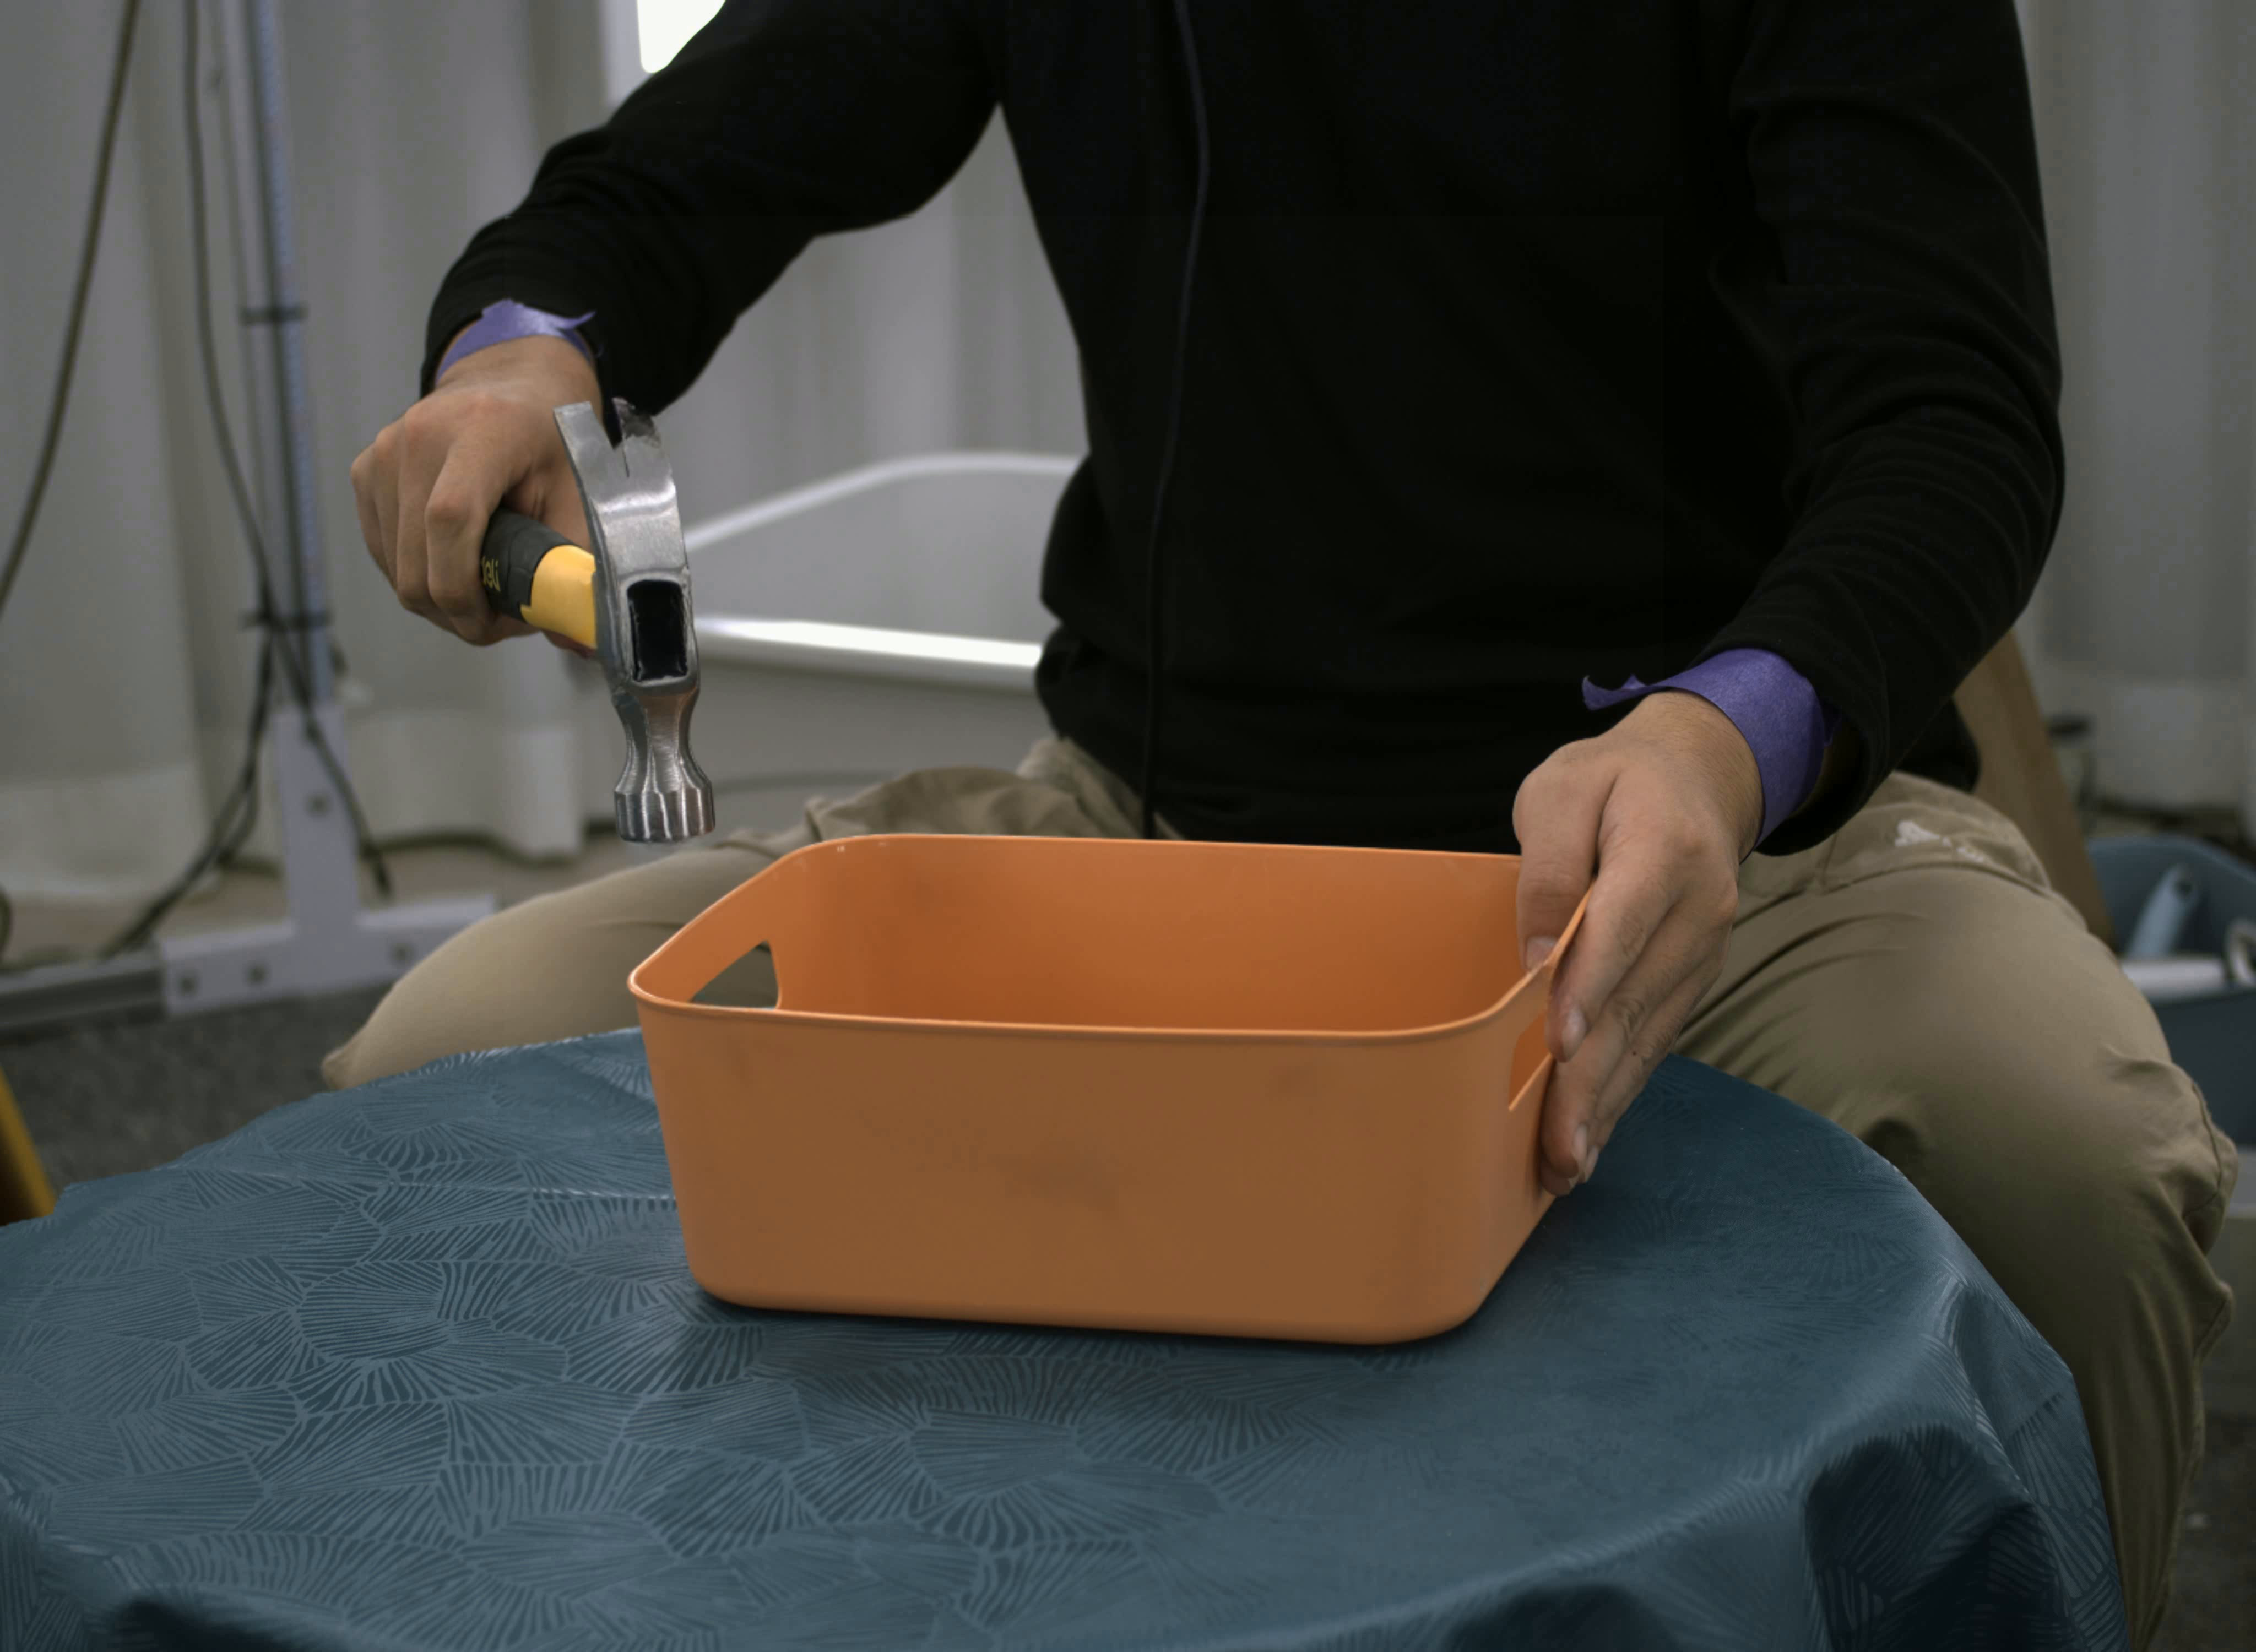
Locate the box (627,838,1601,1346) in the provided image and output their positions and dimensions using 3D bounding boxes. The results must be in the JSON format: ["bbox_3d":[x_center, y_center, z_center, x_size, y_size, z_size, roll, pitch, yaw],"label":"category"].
[{"bbox_3d":[0.000,0.078,1.654,0.273,0.102,0.200,2,15,17],"label":"box"}]

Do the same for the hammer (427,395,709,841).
[{"bbox_3d":[-0.189,-0.081,1.804,0.032,0.131,0.340,-6,8,-16],"label":"hammer"}]
